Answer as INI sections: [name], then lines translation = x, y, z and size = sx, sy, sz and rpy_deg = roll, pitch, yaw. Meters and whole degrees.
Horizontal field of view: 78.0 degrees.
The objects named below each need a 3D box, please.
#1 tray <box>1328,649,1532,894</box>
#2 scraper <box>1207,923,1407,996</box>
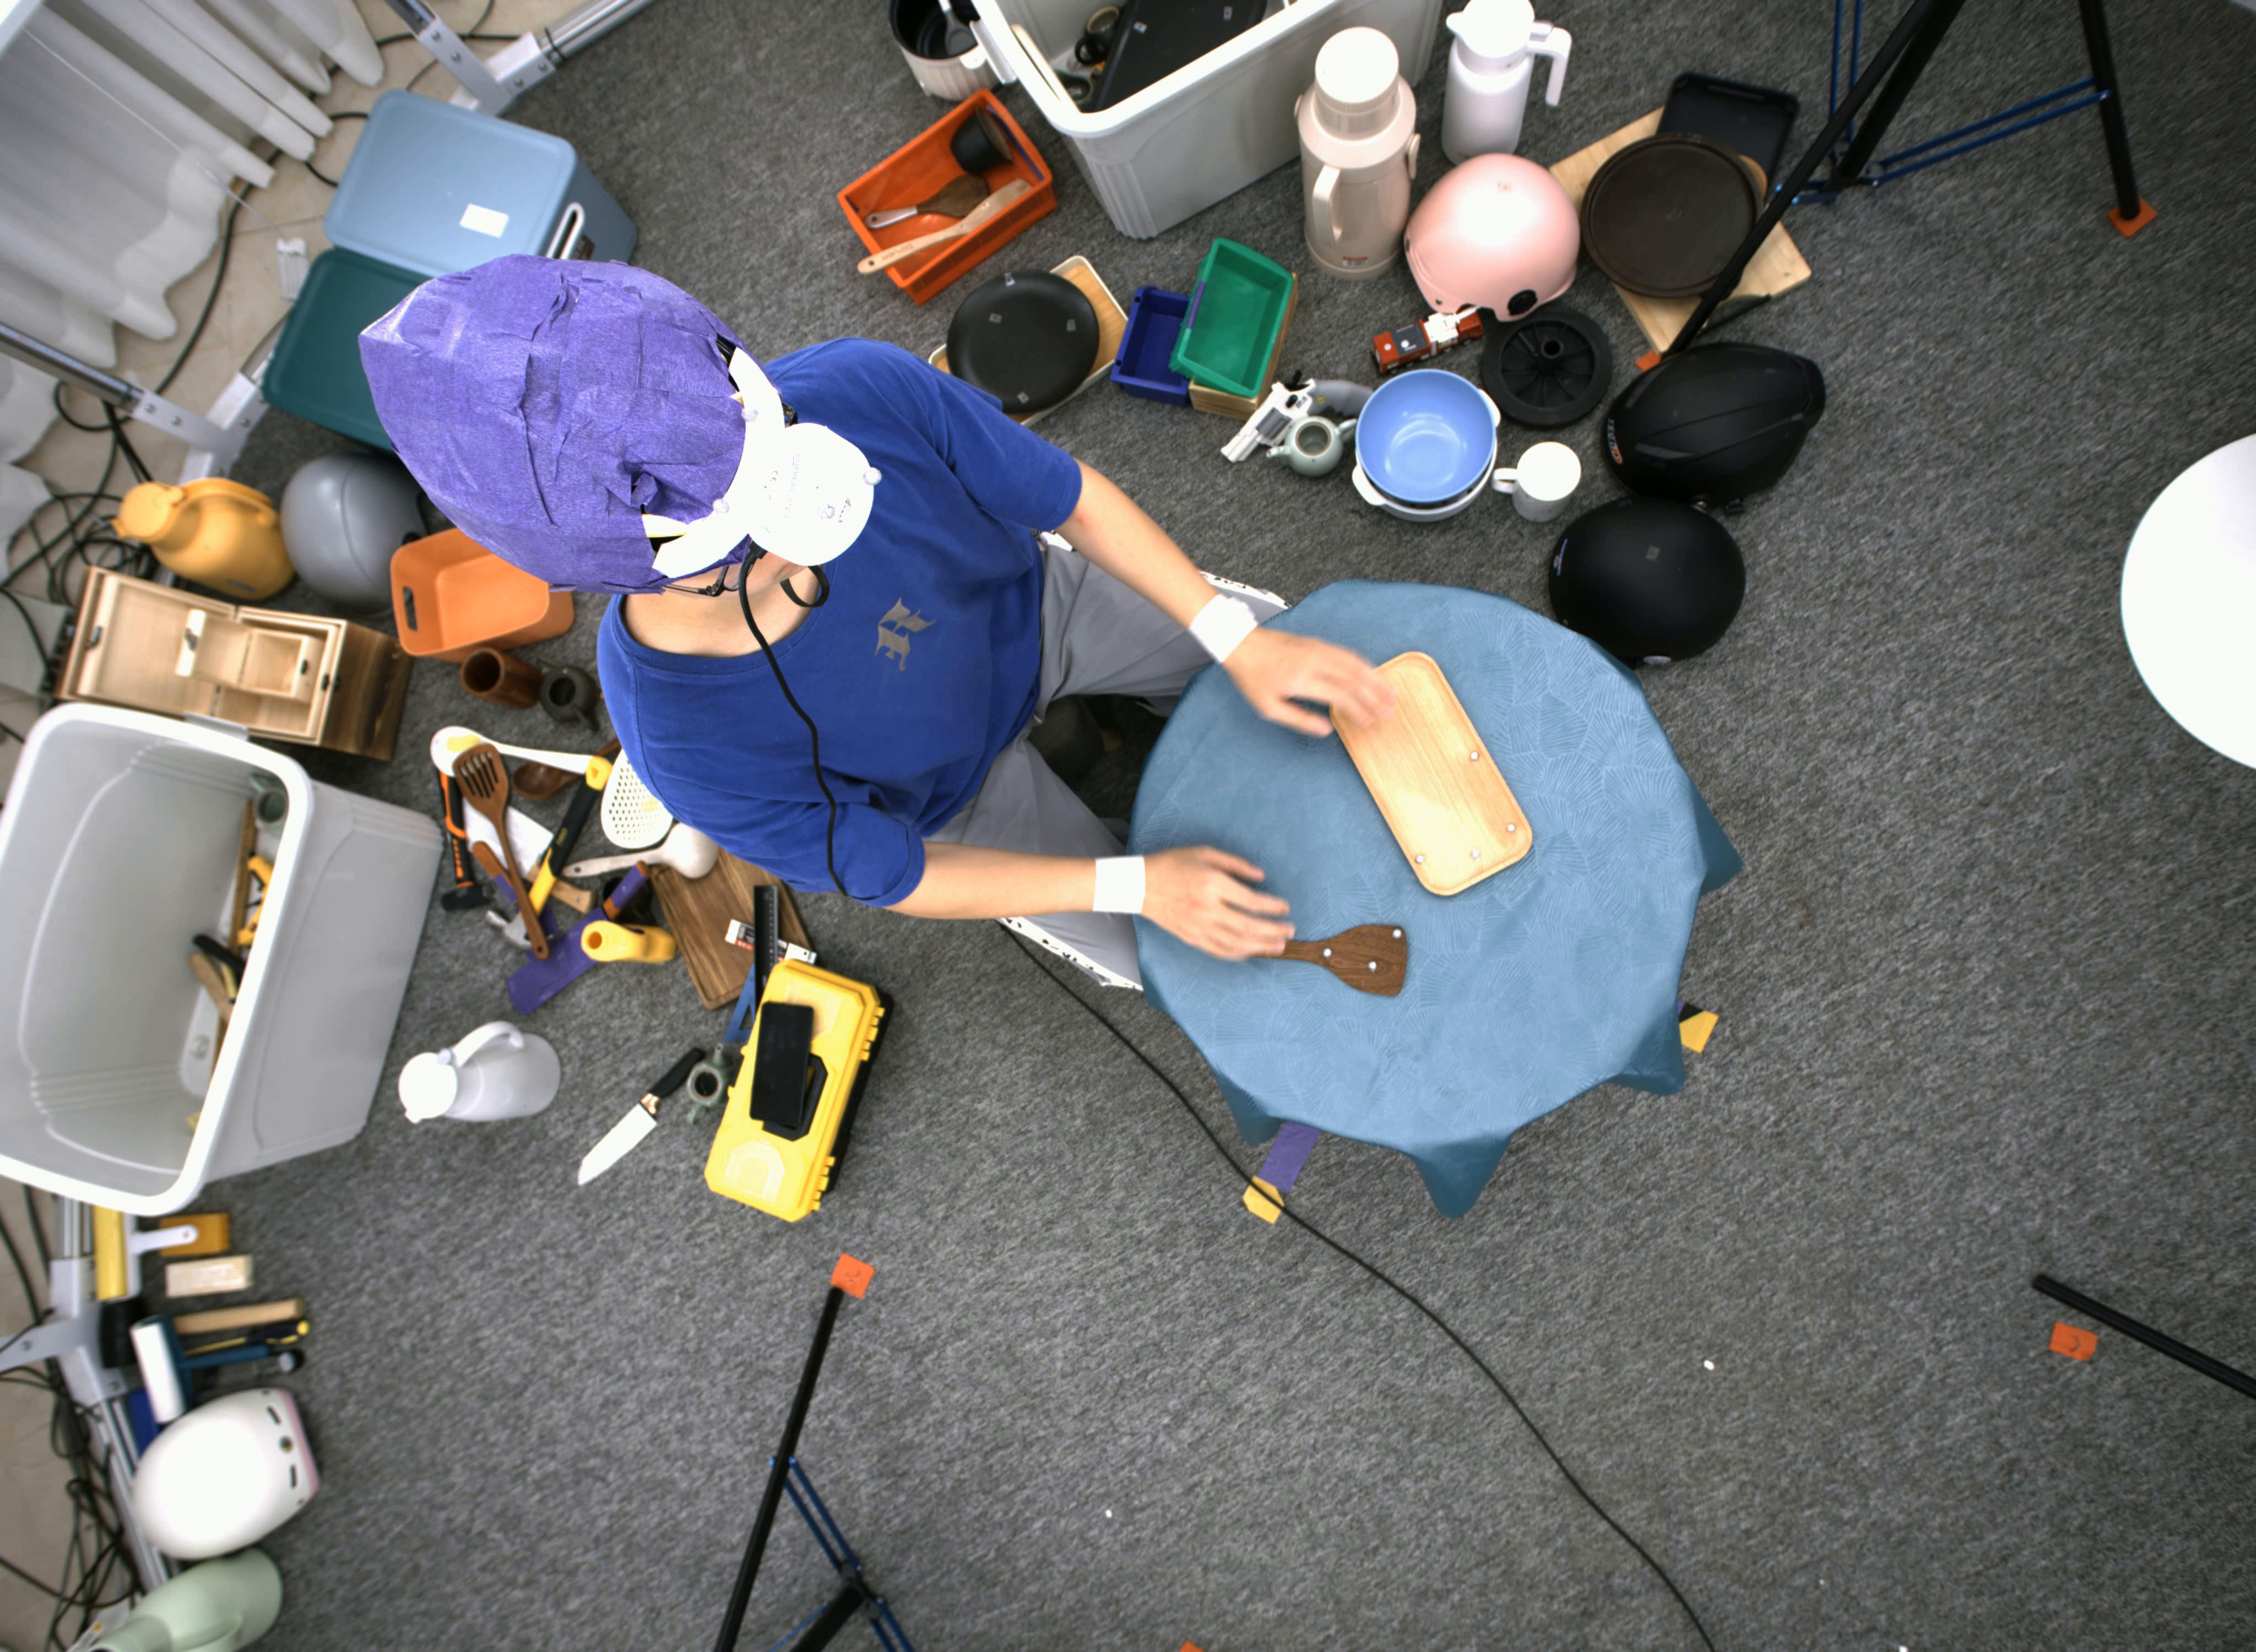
[tray]
translation = 0.316, -0.060, 1.447
size = 0.131, 0.023, 0.249
rpy_deg = -27, 82, 6
[scraper]
translation = 0.188, 0.132, 1.466
size = 0.212, 0.011, 0.075
rpy_deg = 5, 87, 12
